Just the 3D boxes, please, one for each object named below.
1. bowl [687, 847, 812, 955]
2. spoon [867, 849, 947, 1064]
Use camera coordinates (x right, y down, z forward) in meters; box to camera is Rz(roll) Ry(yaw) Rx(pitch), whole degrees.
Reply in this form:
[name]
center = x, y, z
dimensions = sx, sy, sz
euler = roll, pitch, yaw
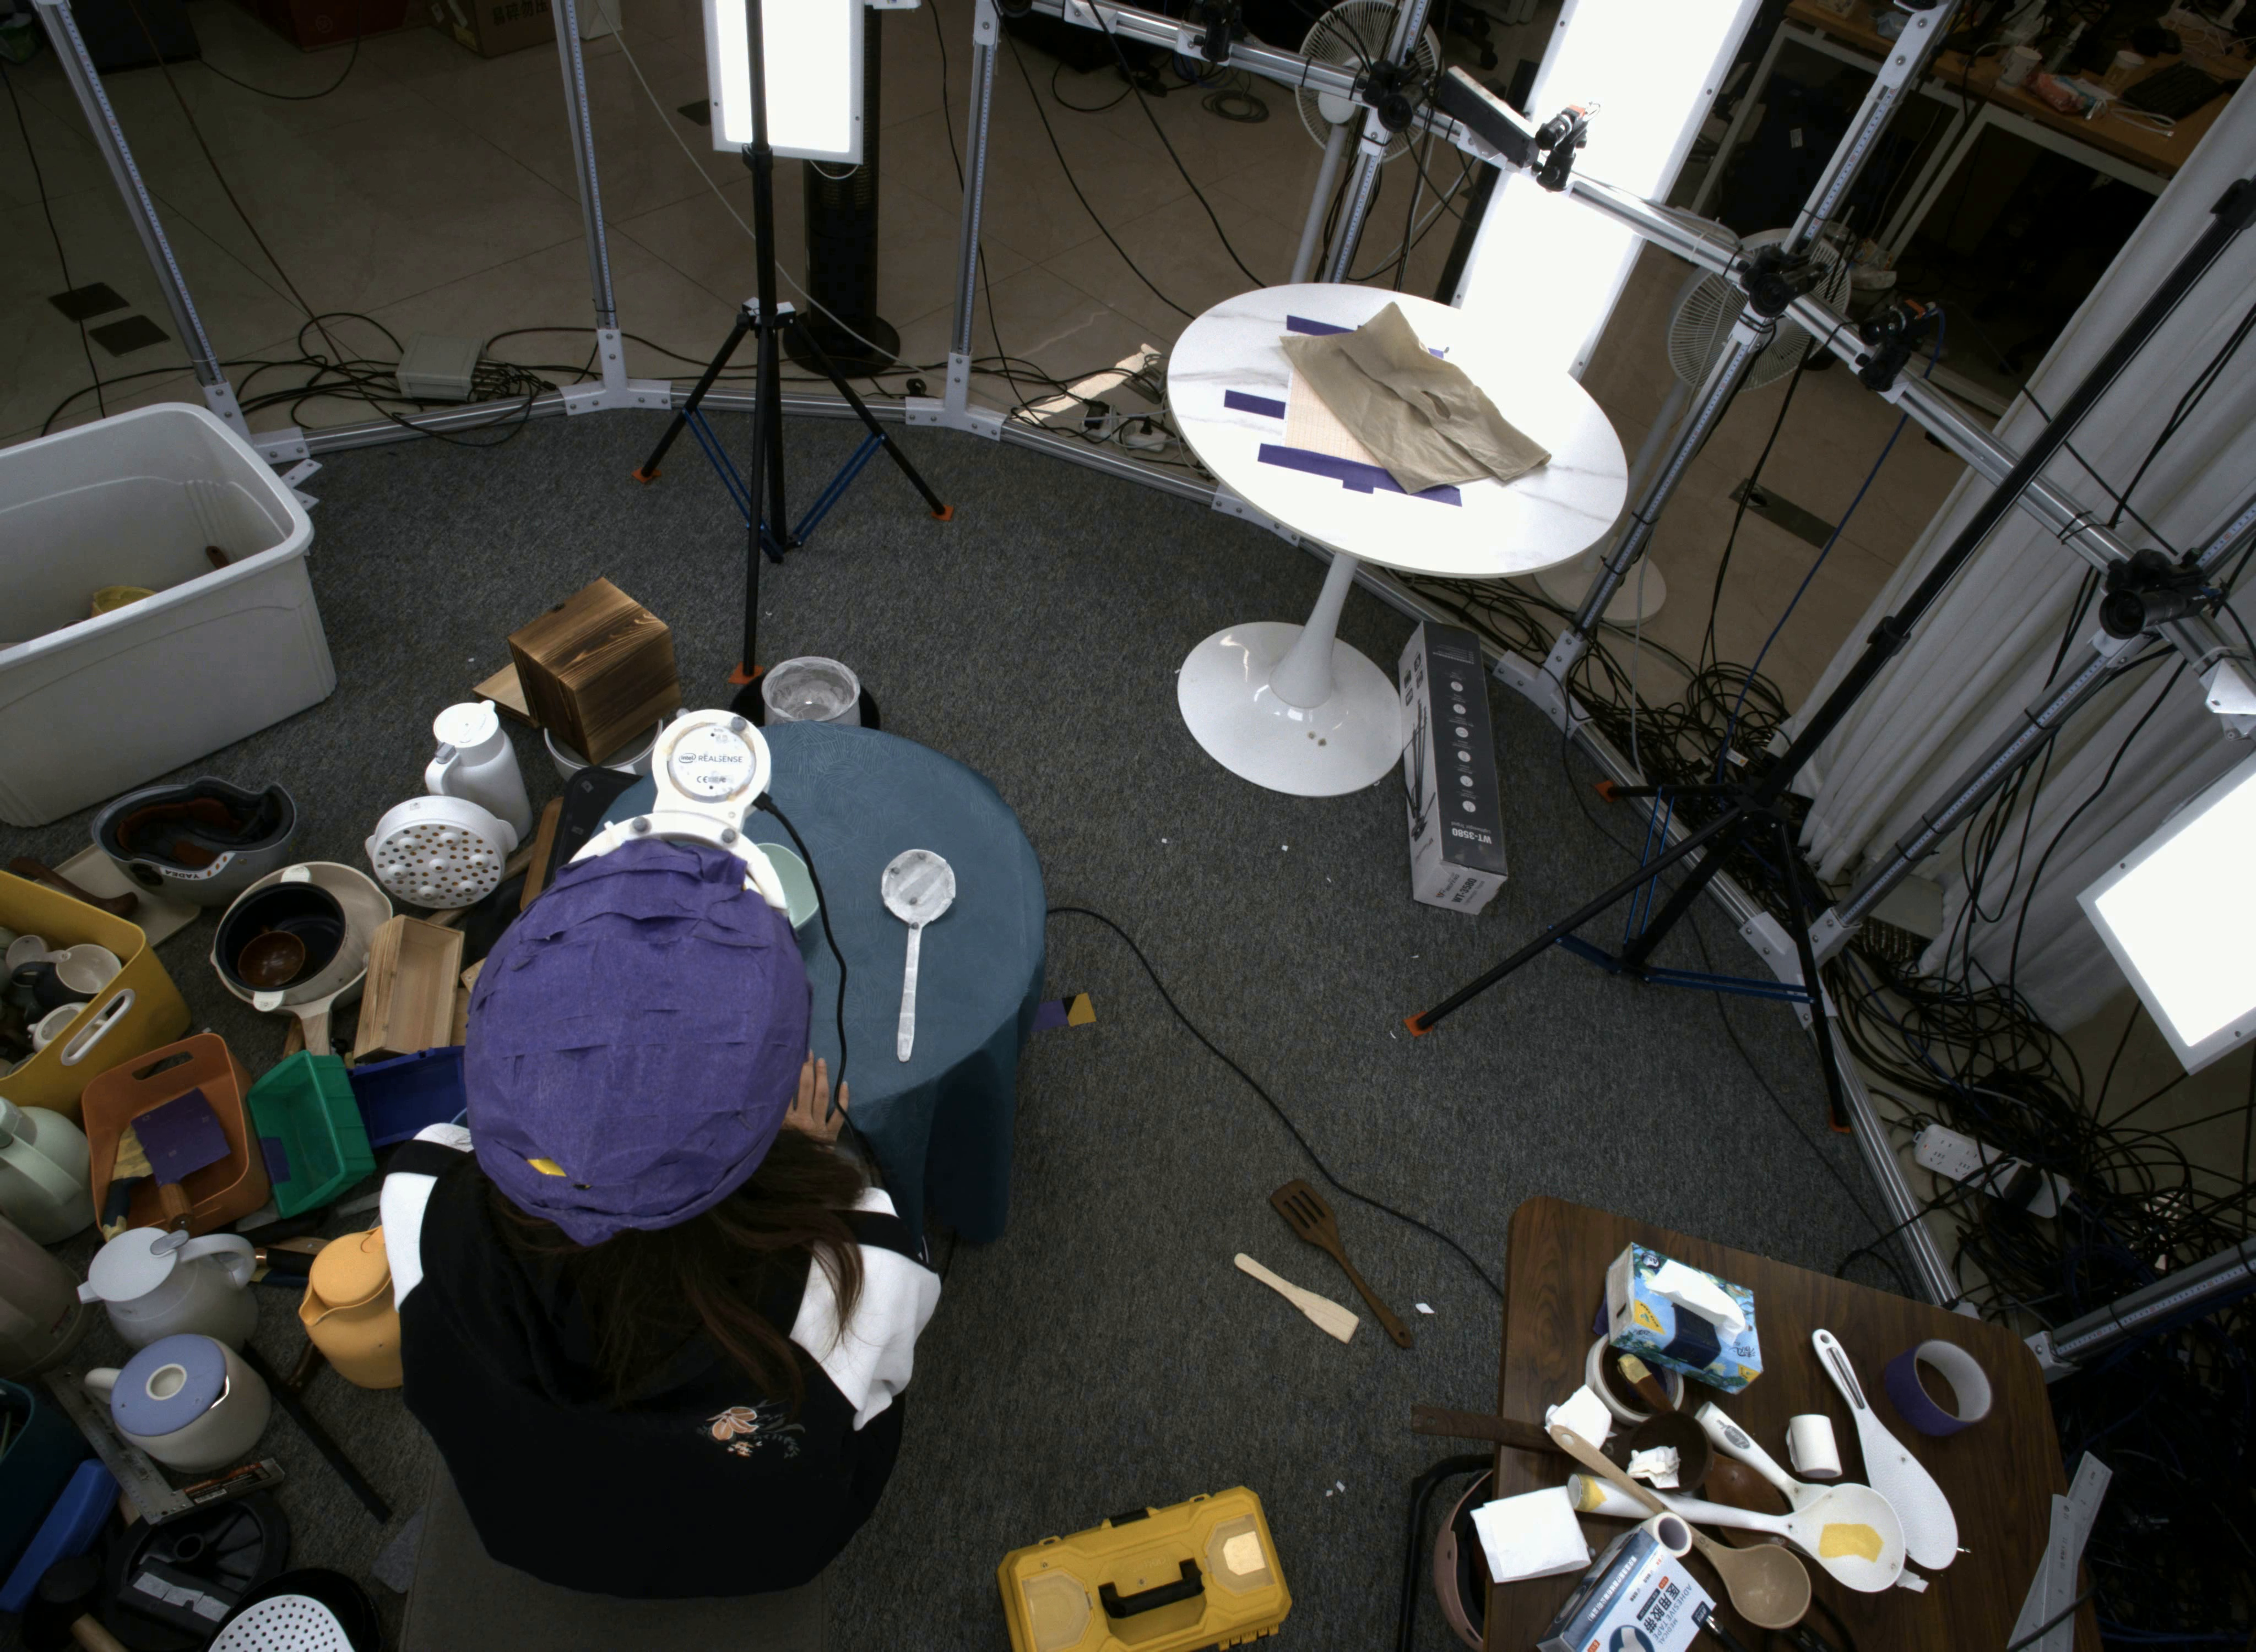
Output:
[bowl]
center = -0.466, 0.101, 1.598
dimensions = 0.151, 0.060, 0.149
euler = 8, 52, -9
[spoon]
center = -0.284, 0.154, 1.604
dimensions = 0.100, 0.061, 0.272
euler = 5, 53, -4
